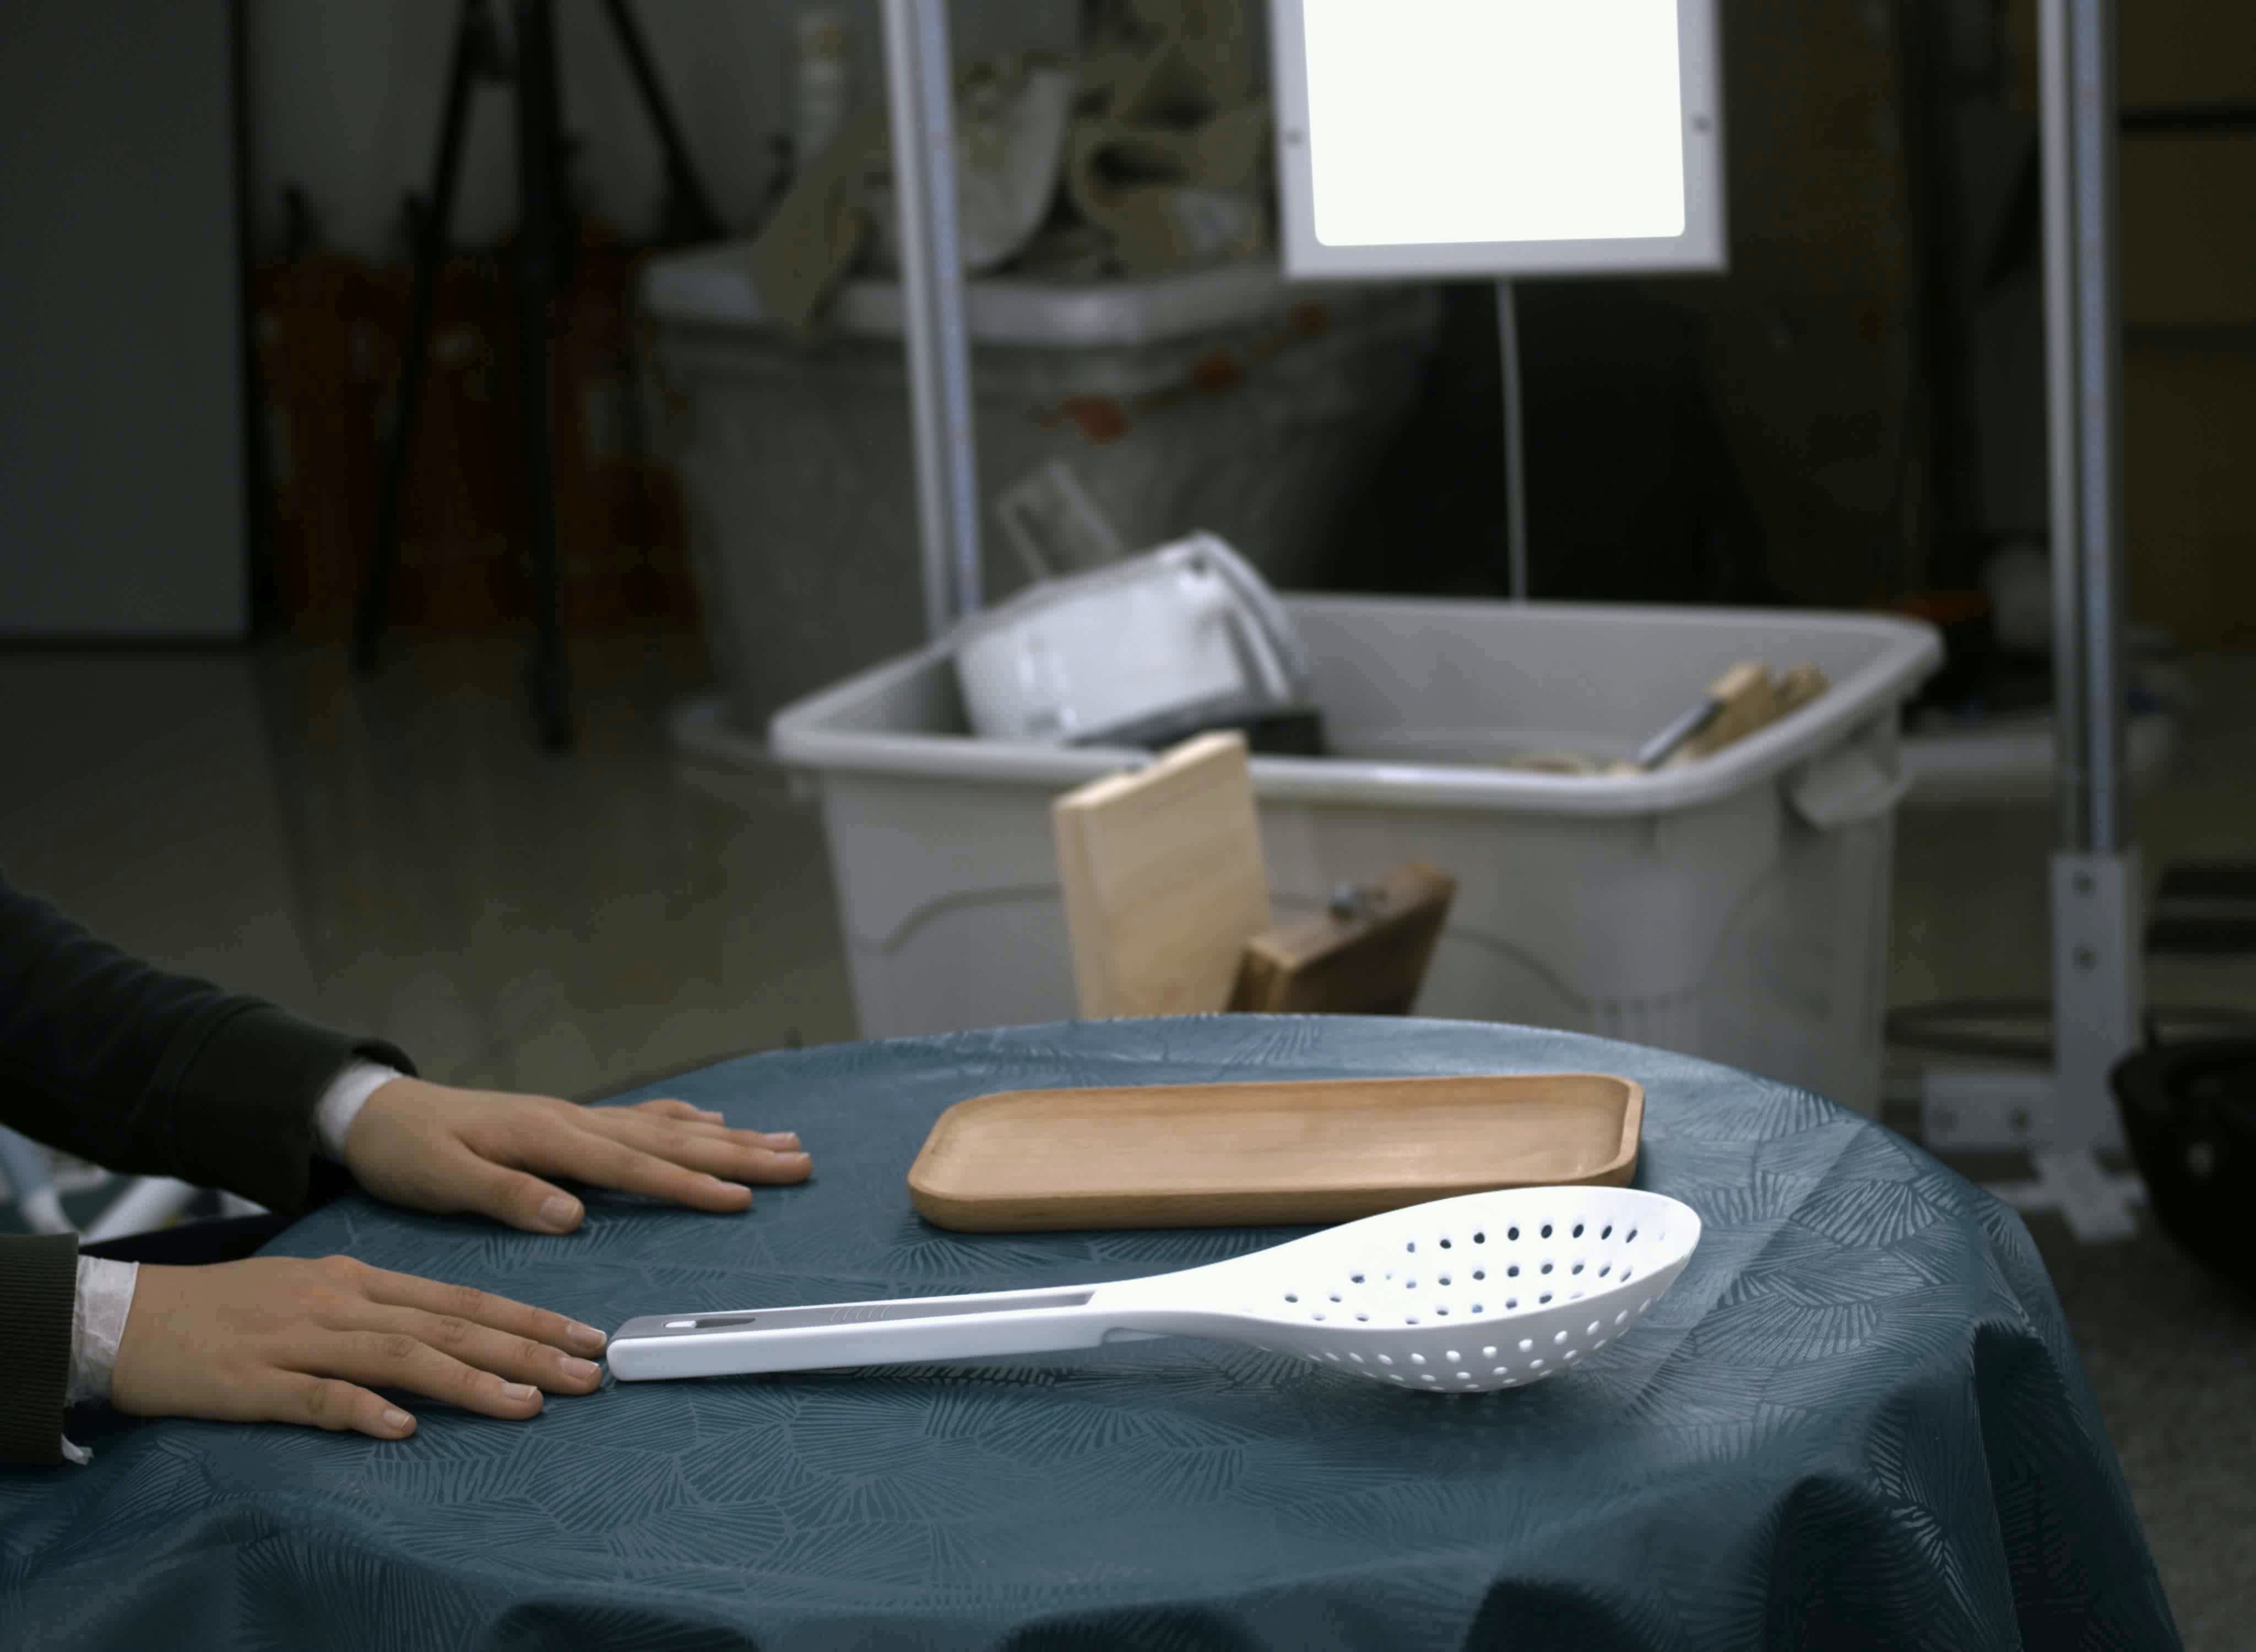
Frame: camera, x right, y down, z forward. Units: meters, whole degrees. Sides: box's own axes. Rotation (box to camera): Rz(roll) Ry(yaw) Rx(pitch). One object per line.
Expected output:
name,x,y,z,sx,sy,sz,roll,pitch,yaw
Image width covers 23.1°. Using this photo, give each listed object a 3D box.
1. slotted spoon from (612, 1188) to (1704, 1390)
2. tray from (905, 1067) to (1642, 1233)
slotted spoon,0.006,0.149,1.707,0.353,0.046,0.134,-2,12,16
tray,0.052,0.112,1.902,0.252,0.023,0.129,-3,12,11
